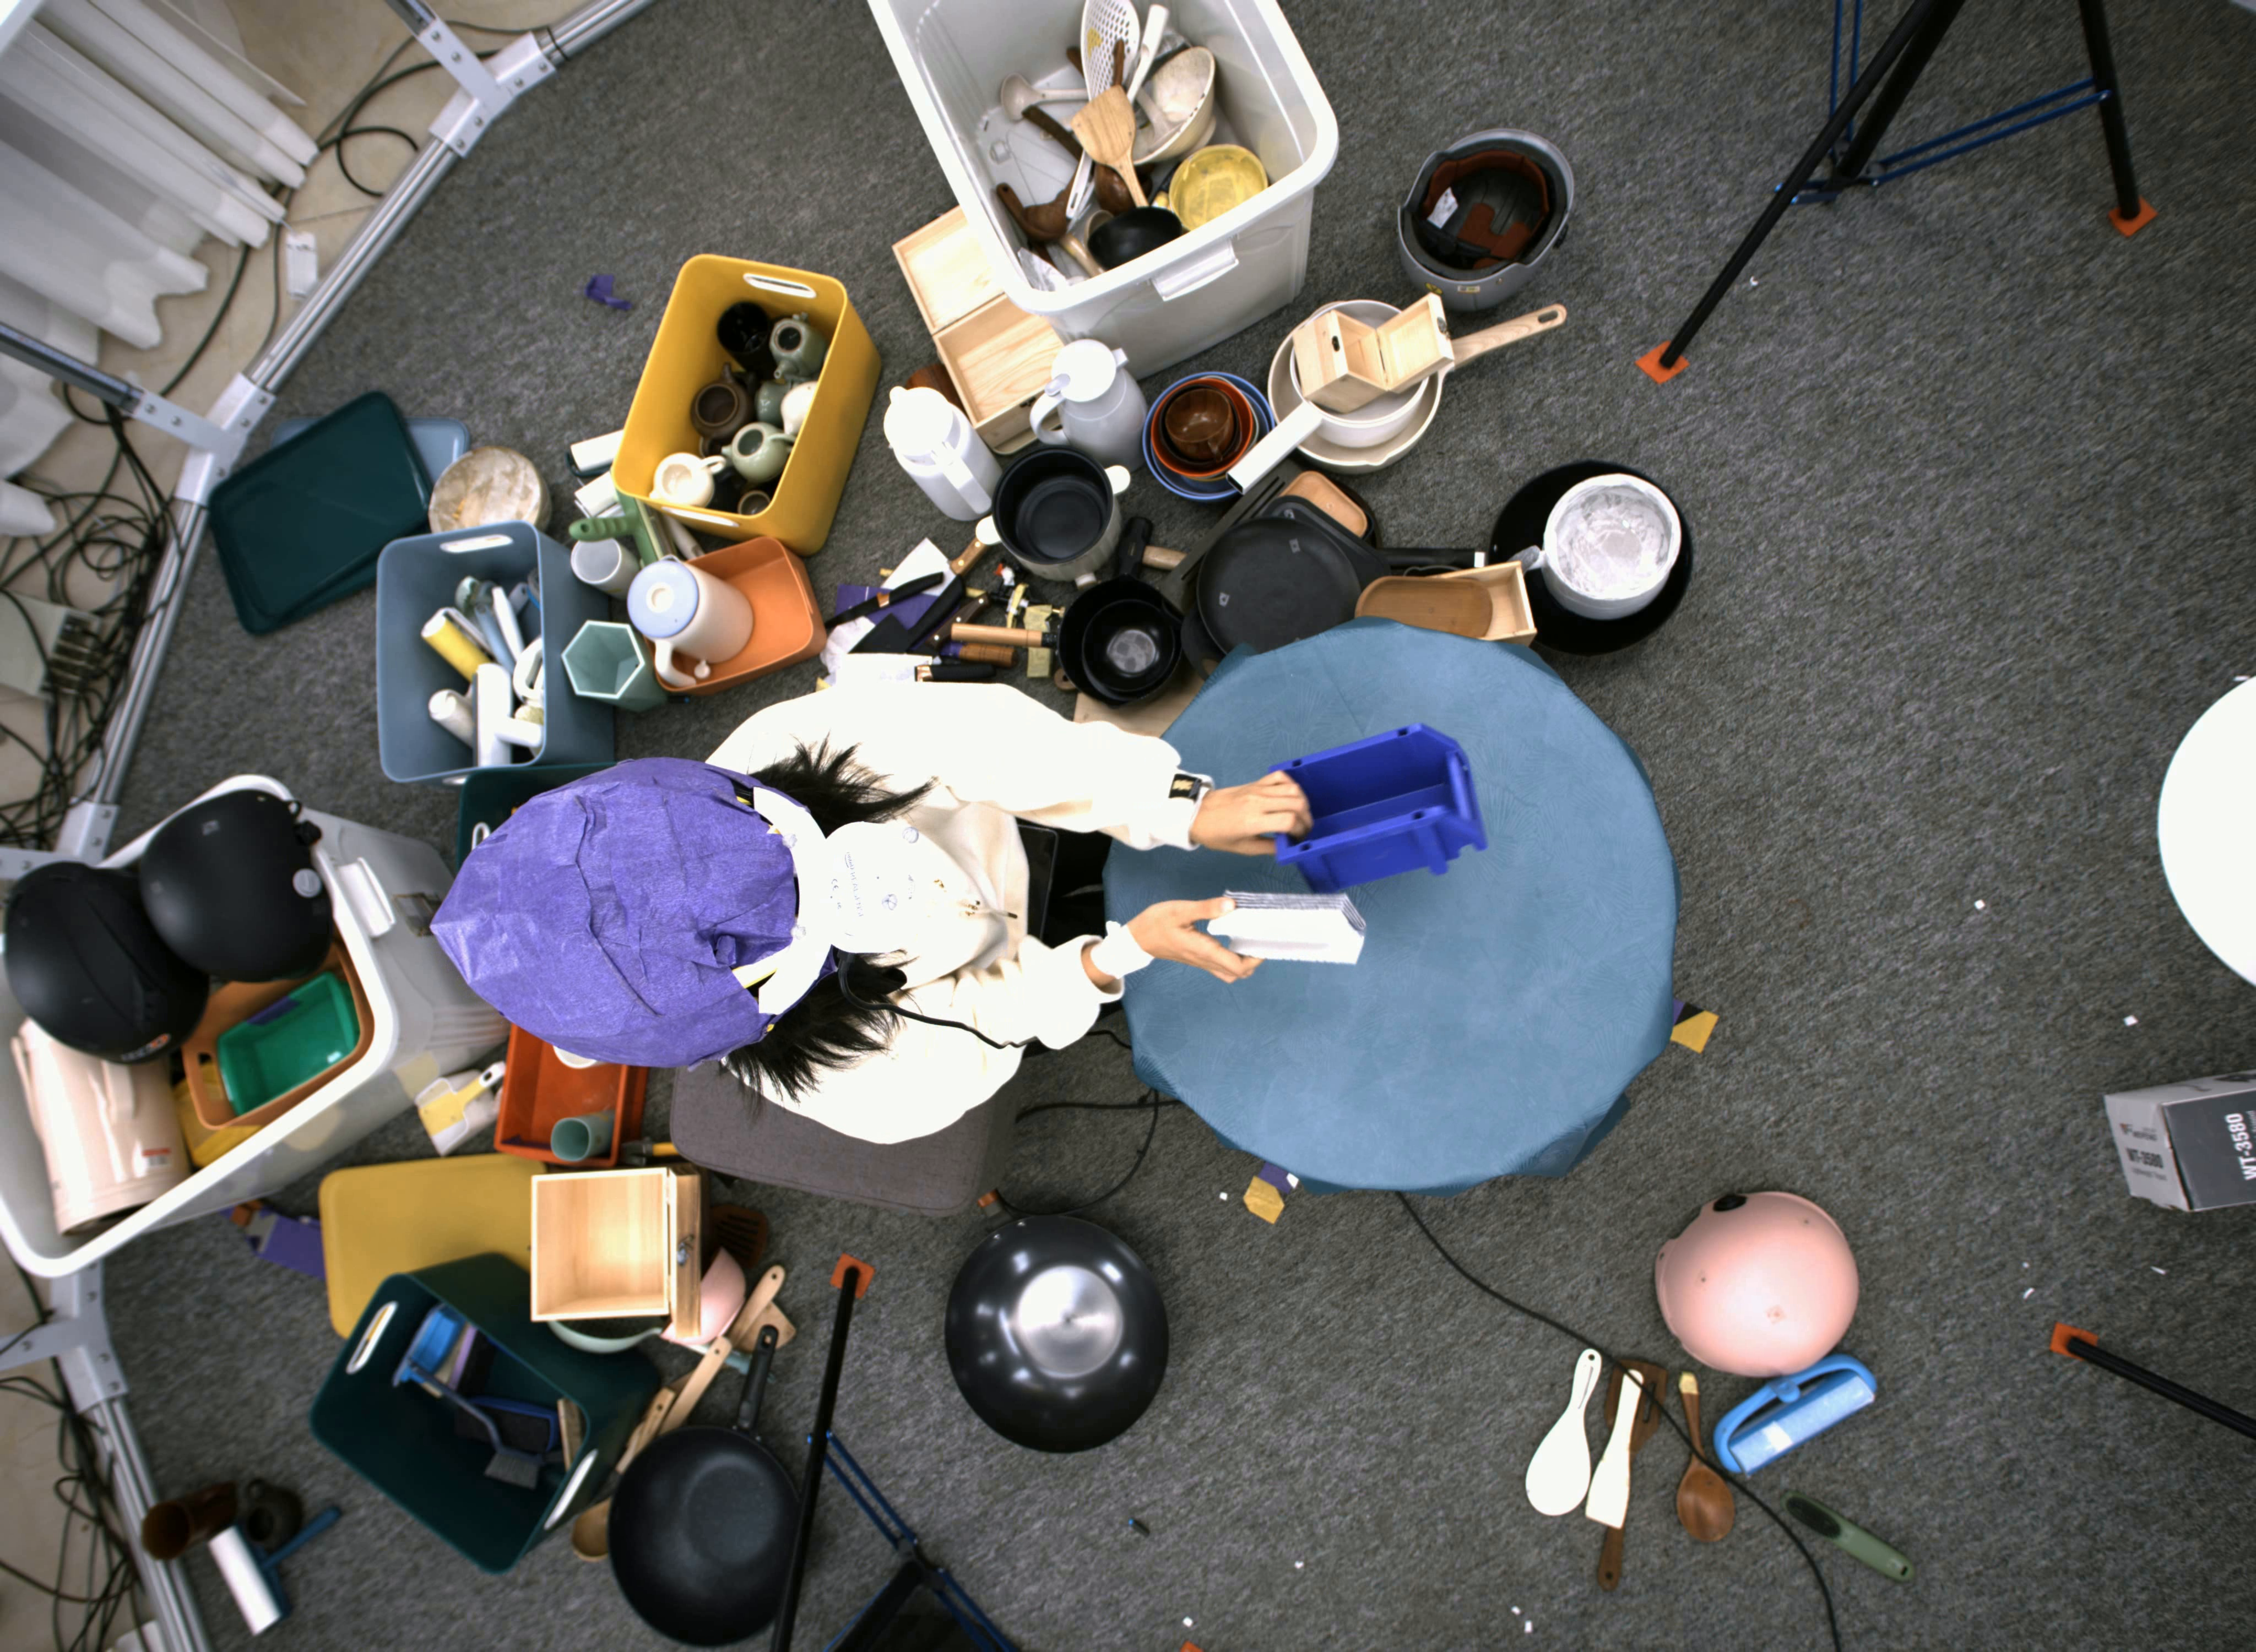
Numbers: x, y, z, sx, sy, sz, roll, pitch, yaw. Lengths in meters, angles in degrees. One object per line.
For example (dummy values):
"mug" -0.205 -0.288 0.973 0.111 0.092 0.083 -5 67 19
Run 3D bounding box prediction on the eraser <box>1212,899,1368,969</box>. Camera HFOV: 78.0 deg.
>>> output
"eraser" 0.146 0.095 1.255 0.135 0.050 0.045 -2 55 41

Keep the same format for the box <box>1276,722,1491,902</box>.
"box" 0.236 -0.016 1.277 0.181 0.083 0.121 -16 46 23
